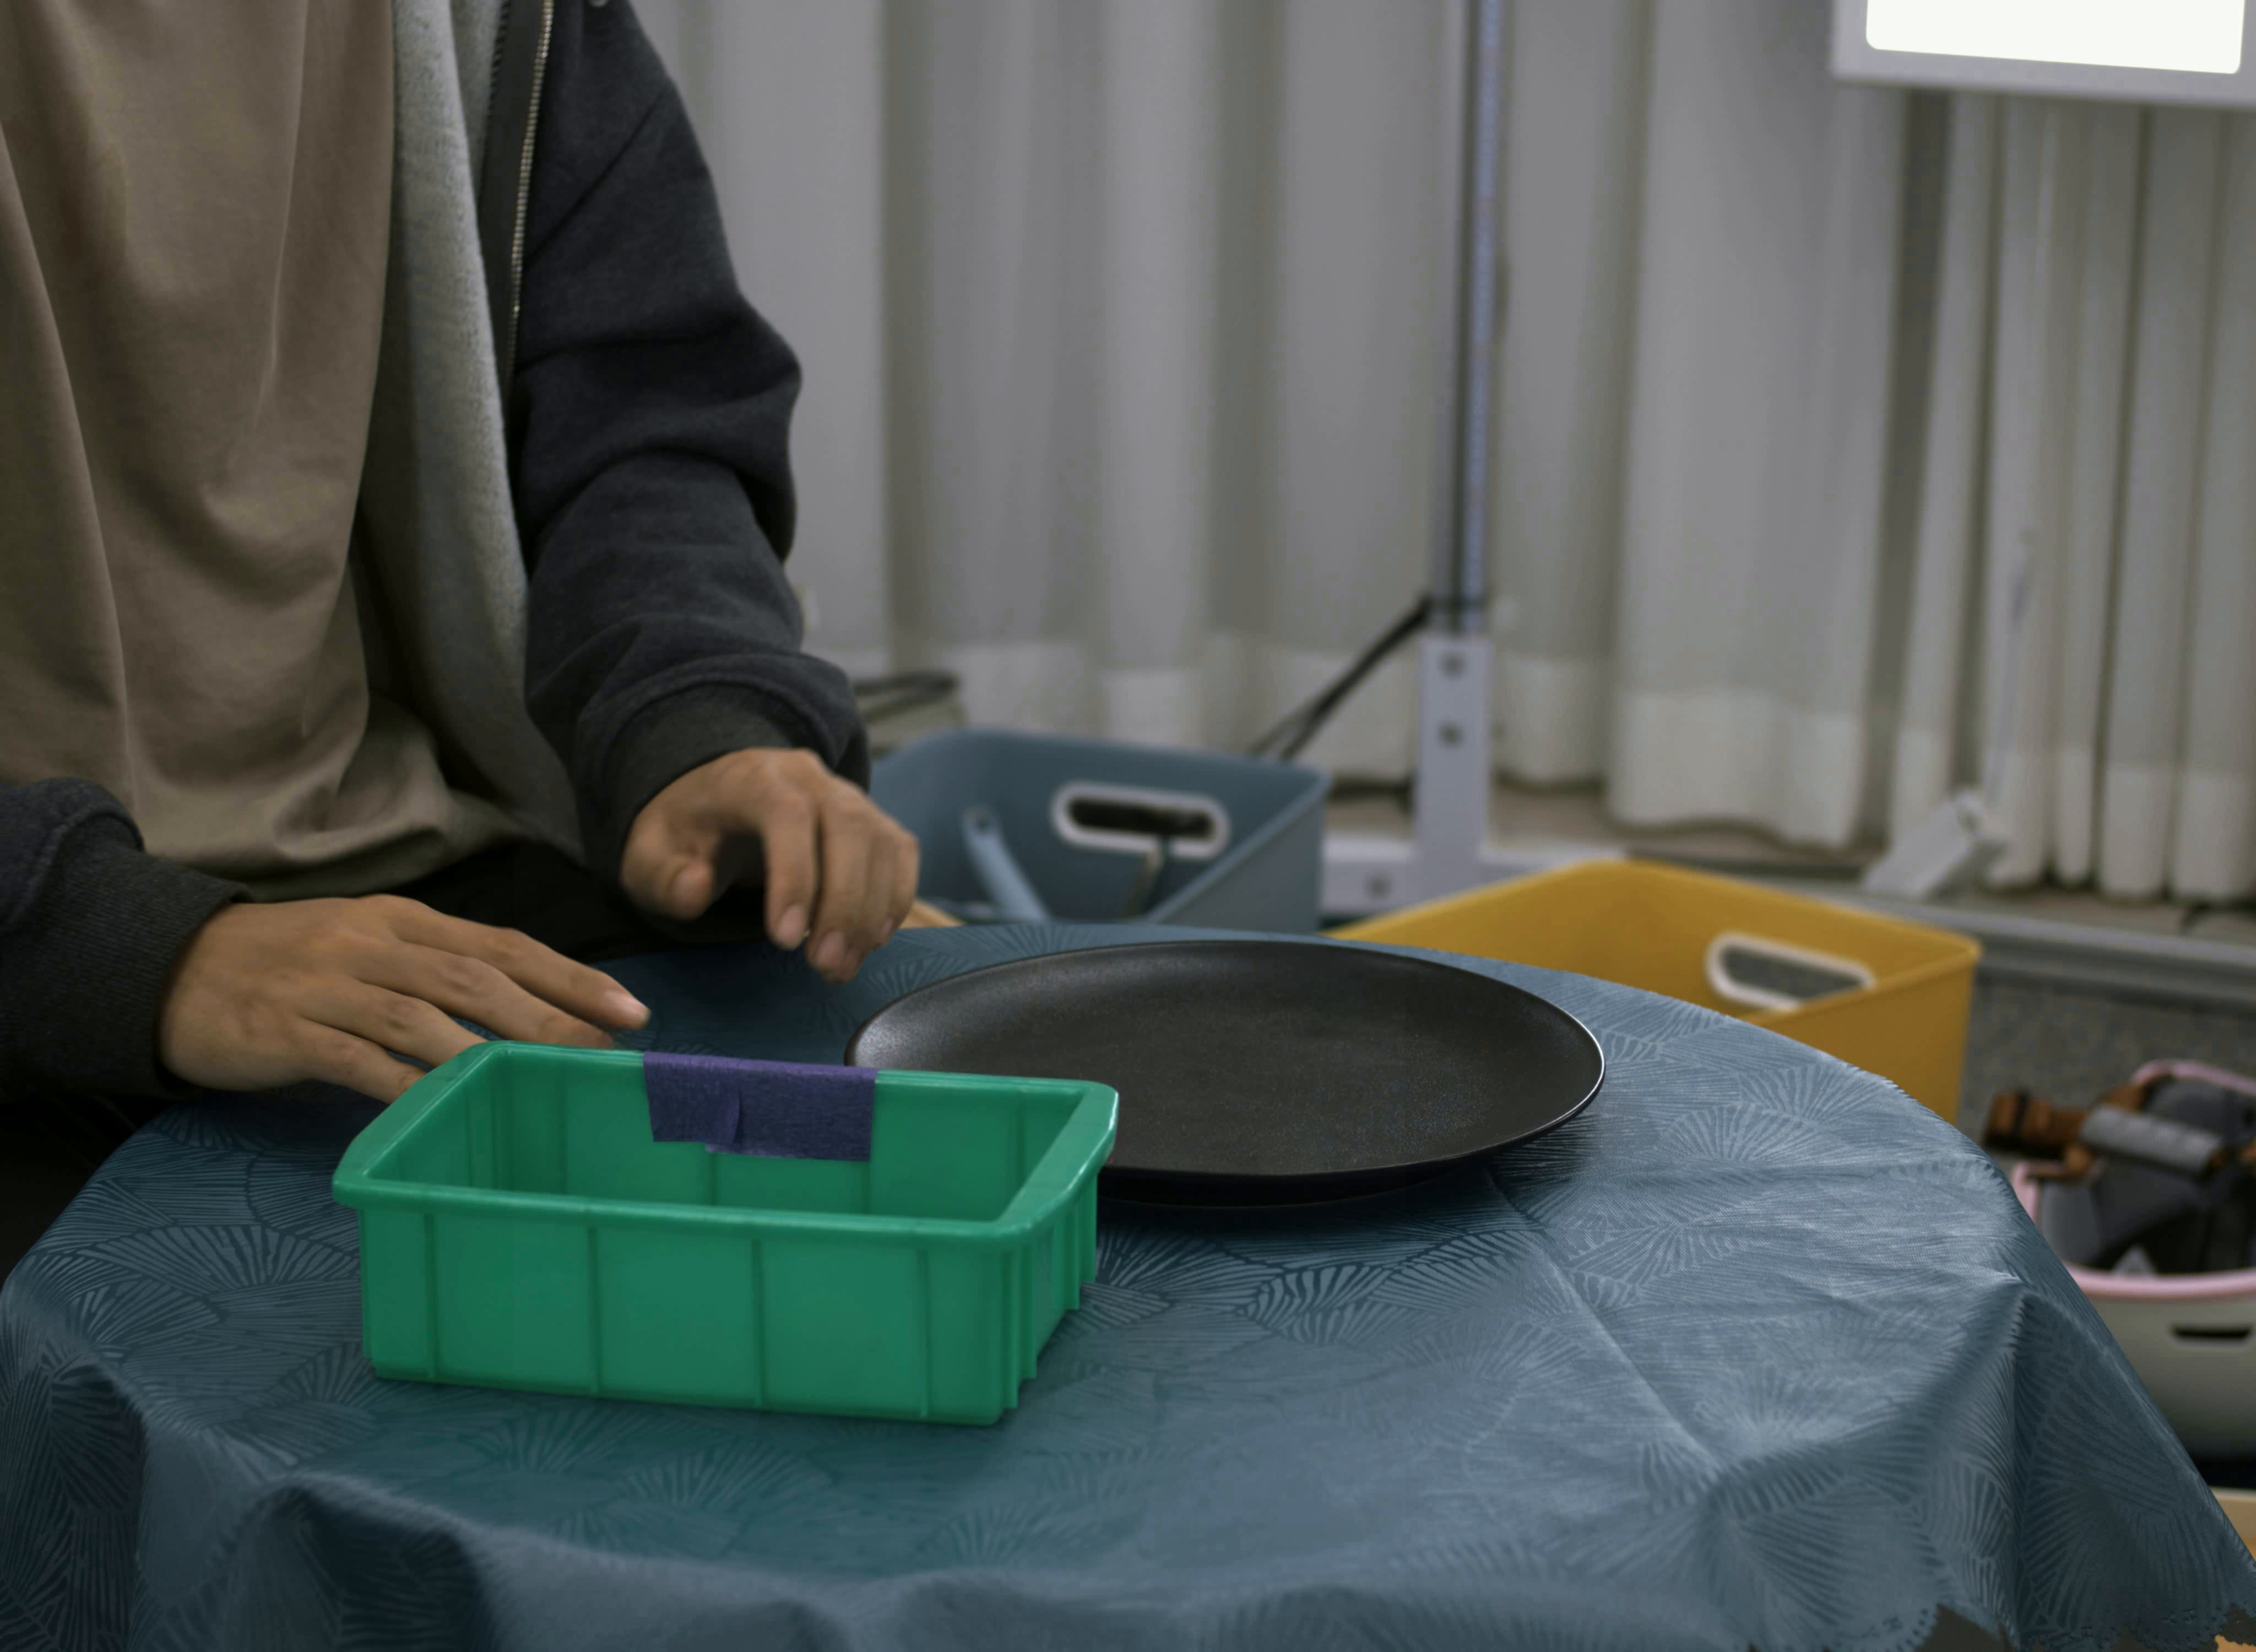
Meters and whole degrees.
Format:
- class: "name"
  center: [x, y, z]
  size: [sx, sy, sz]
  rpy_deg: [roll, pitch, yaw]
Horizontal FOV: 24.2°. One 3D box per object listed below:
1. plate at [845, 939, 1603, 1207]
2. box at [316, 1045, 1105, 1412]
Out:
- class: "plate"
  center: [0.031, 0.082, 1.691]
  size: [0.243, 0.023, 0.243]
  rpy_deg: [1, 16, 0]
- class: "box"
  center: [-0.115, 0.114, 1.494]
  size: [0.209, 0.066, 0.138]
  rpy_deg: [1, 14, 10]
